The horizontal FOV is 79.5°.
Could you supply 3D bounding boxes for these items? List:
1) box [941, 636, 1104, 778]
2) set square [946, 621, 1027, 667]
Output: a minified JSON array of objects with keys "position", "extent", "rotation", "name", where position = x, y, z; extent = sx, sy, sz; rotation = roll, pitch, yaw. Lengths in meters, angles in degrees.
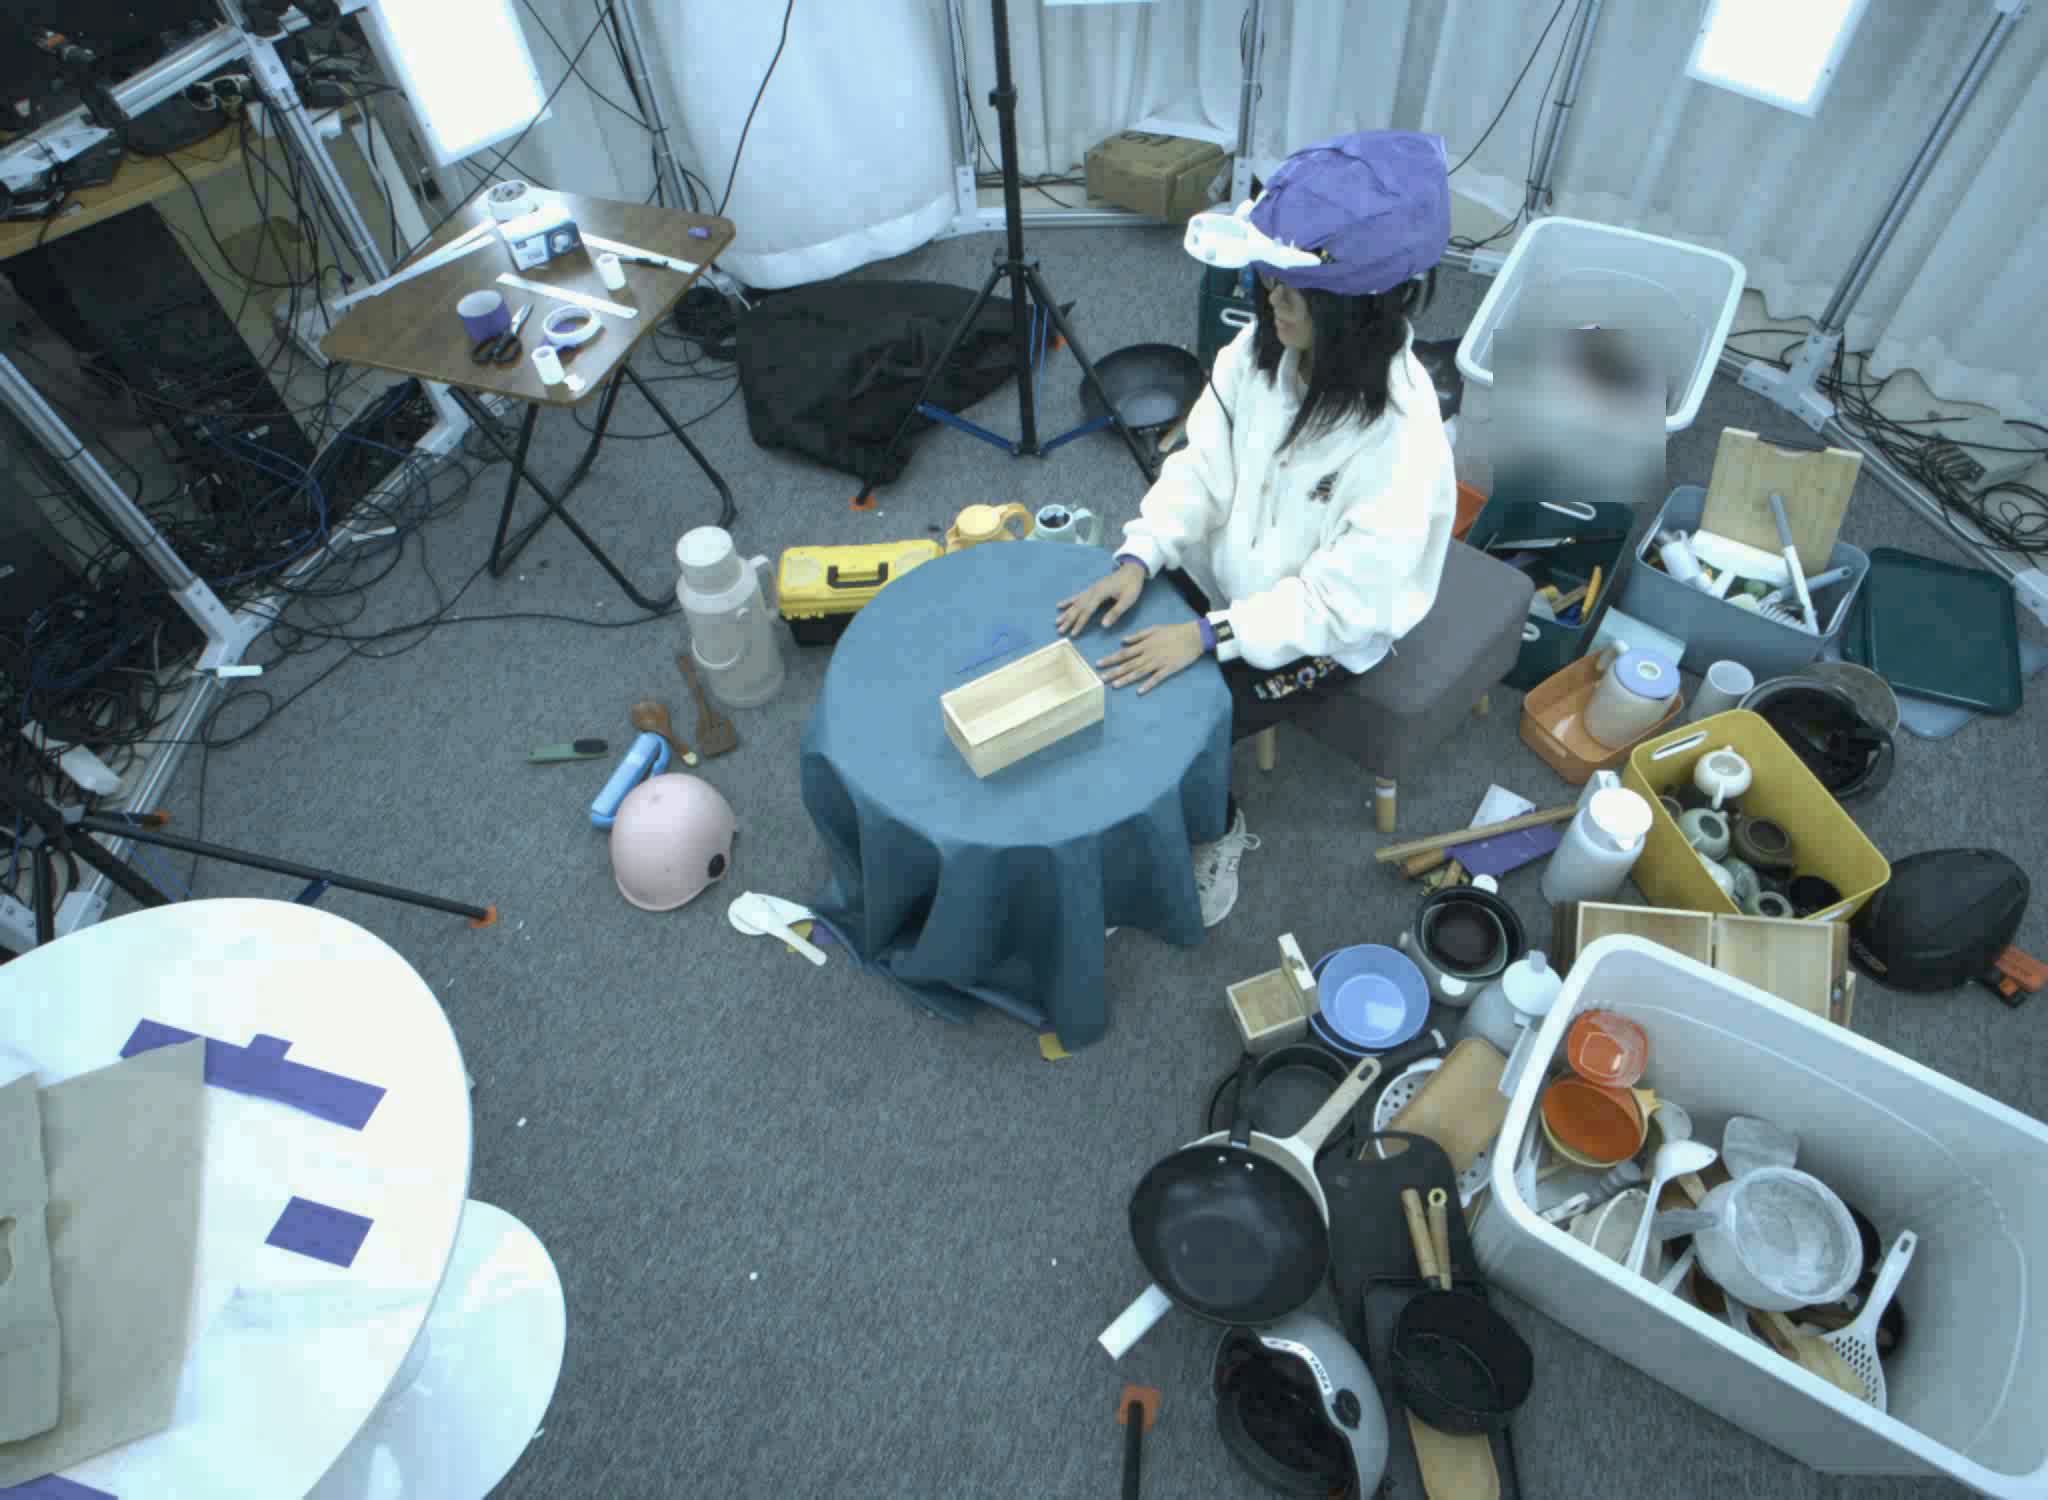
[{"position":[0.000,-0.063,1.783],"extent":[0.213,0.081,0.105],"rotation":[-27,59,-16],"name":"box"},{"position":[-0.066,-0.168,1.906],"extent":[0.133,0.006,0.060],"rotation":[-20,58,-12],"name":"set square"}]
